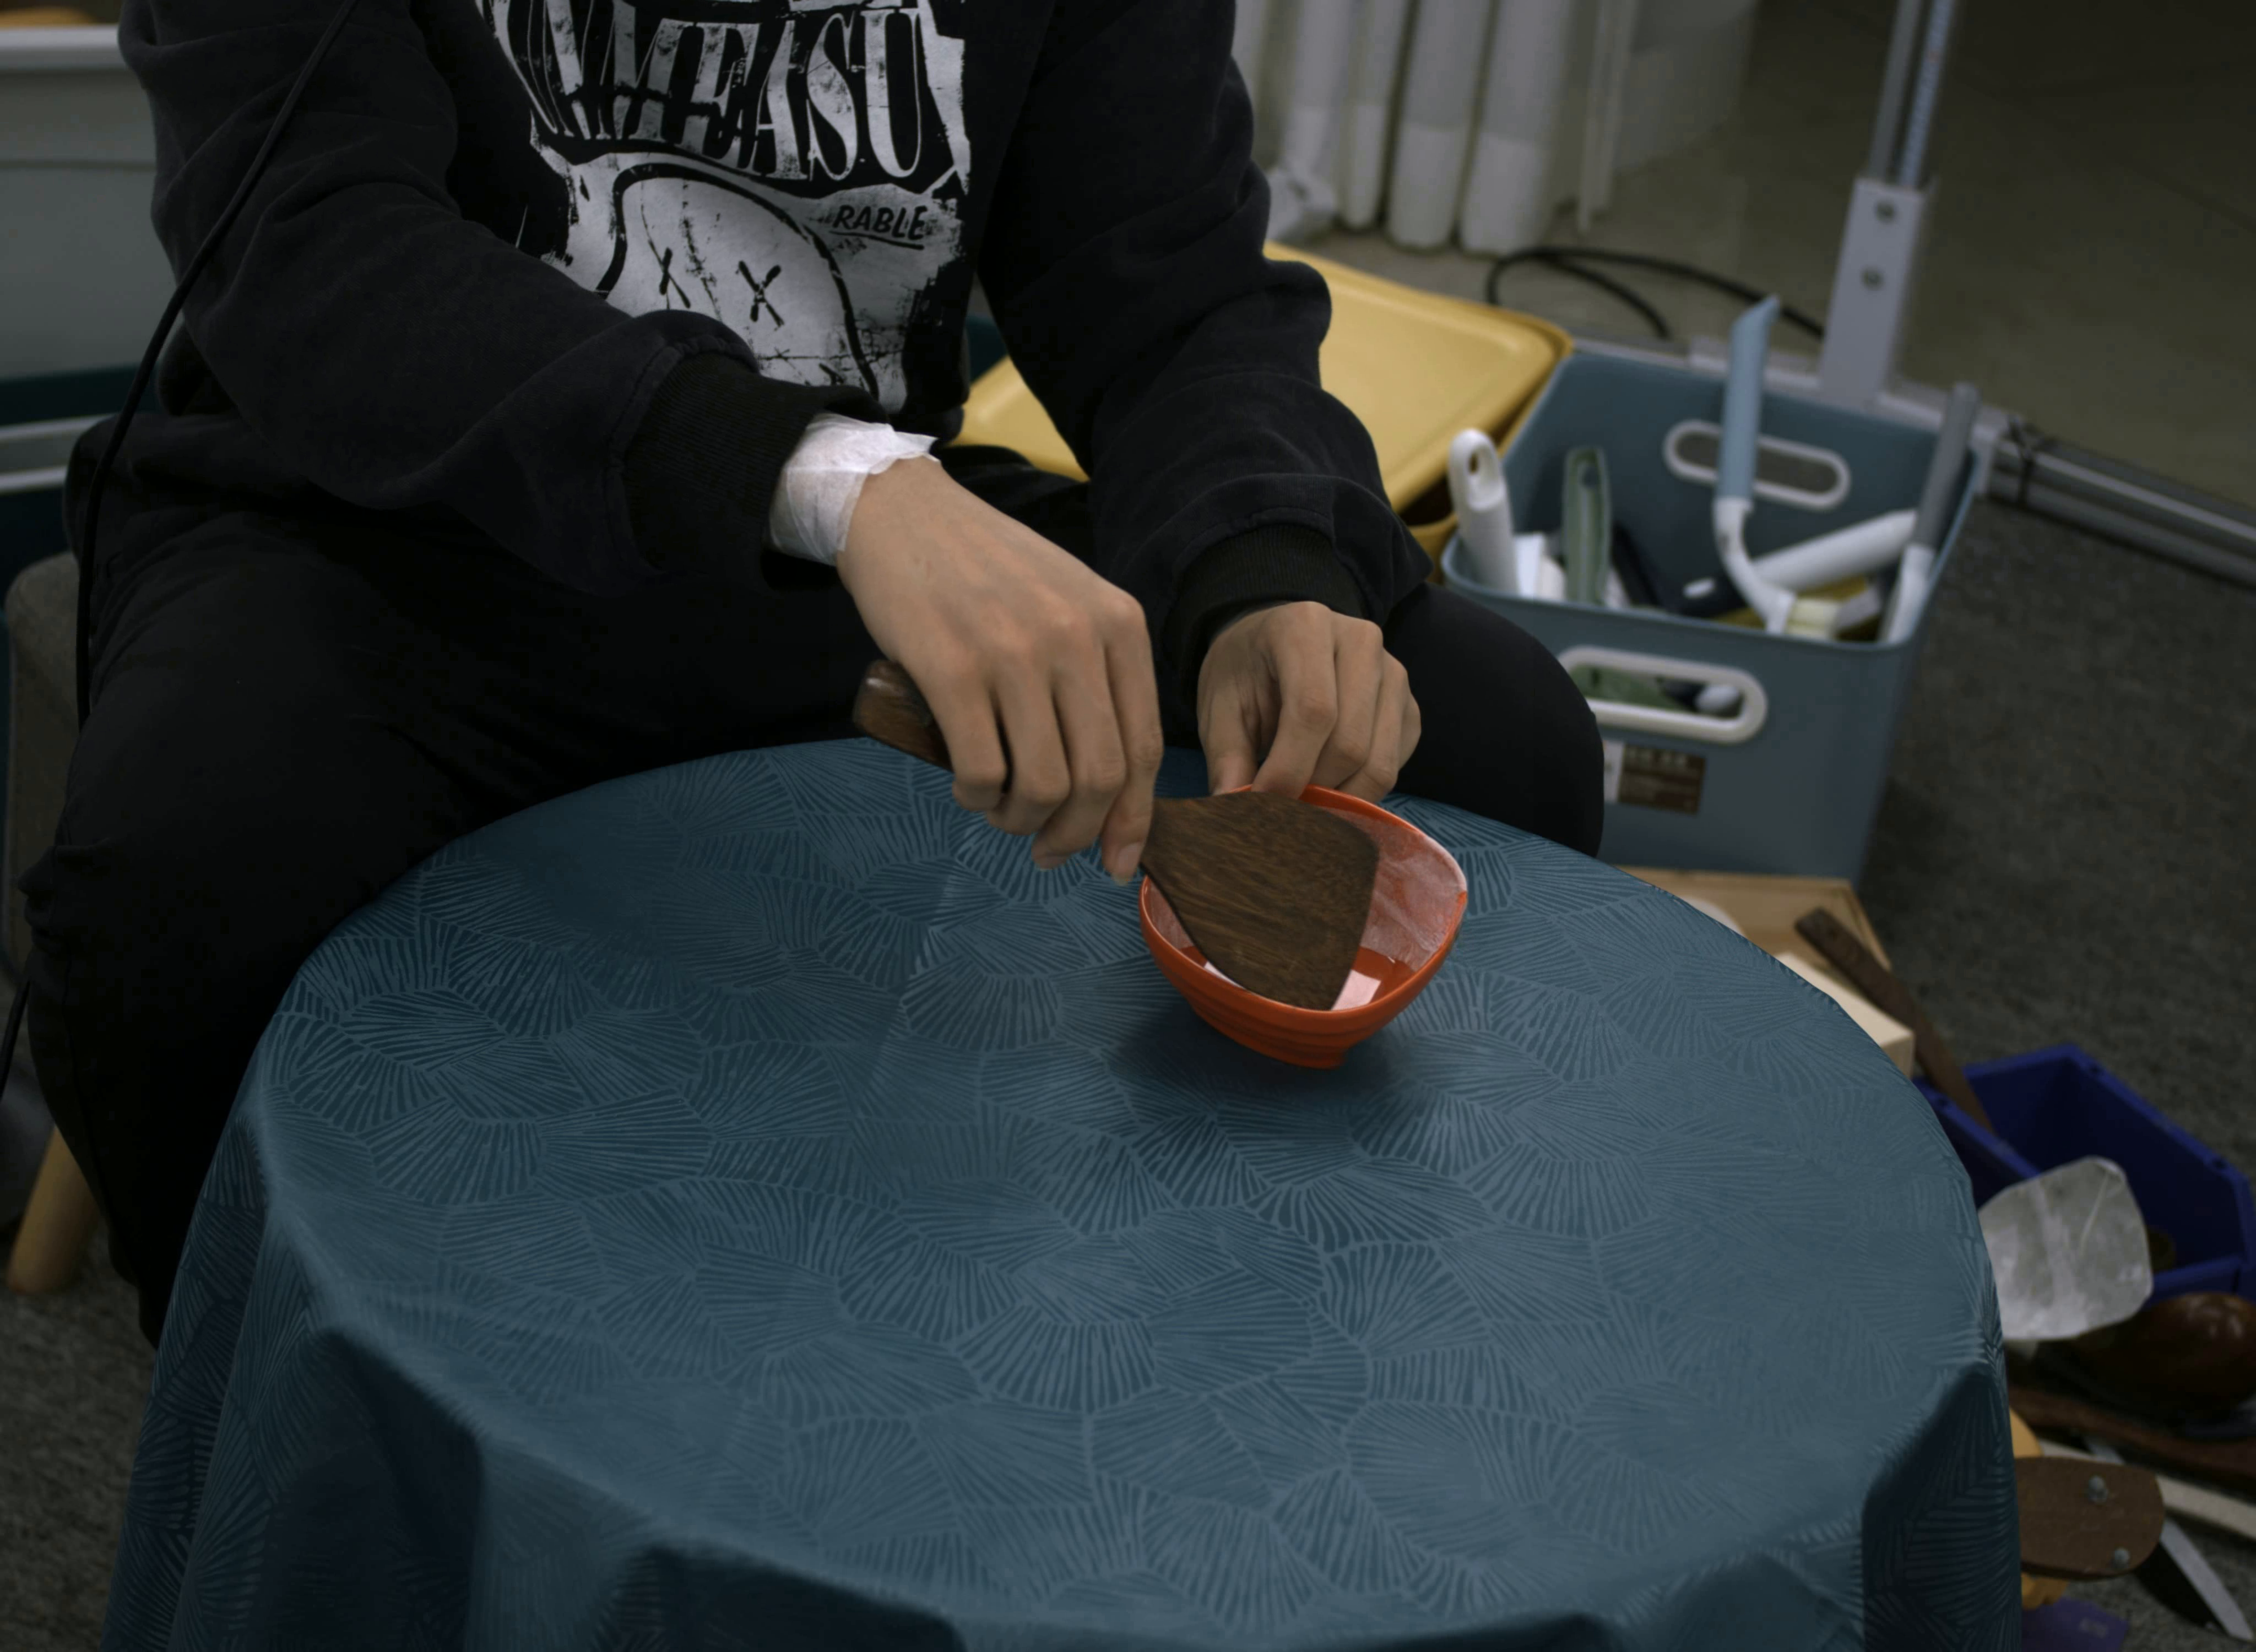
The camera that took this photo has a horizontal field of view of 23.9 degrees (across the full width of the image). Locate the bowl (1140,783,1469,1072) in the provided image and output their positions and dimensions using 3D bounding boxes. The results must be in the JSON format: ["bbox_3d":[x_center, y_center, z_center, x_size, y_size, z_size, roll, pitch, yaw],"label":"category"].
[{"bbox_3d":[0.062,0.043,1.901,0.118,0.051,0.120,1,44,-2],"label":"bowl"}]

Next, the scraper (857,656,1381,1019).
[{"bbox_3d":[-0.003,-0.004,1.827,0.209,0.076,0.011,27,-22,-24],"label":"scraper"}]
